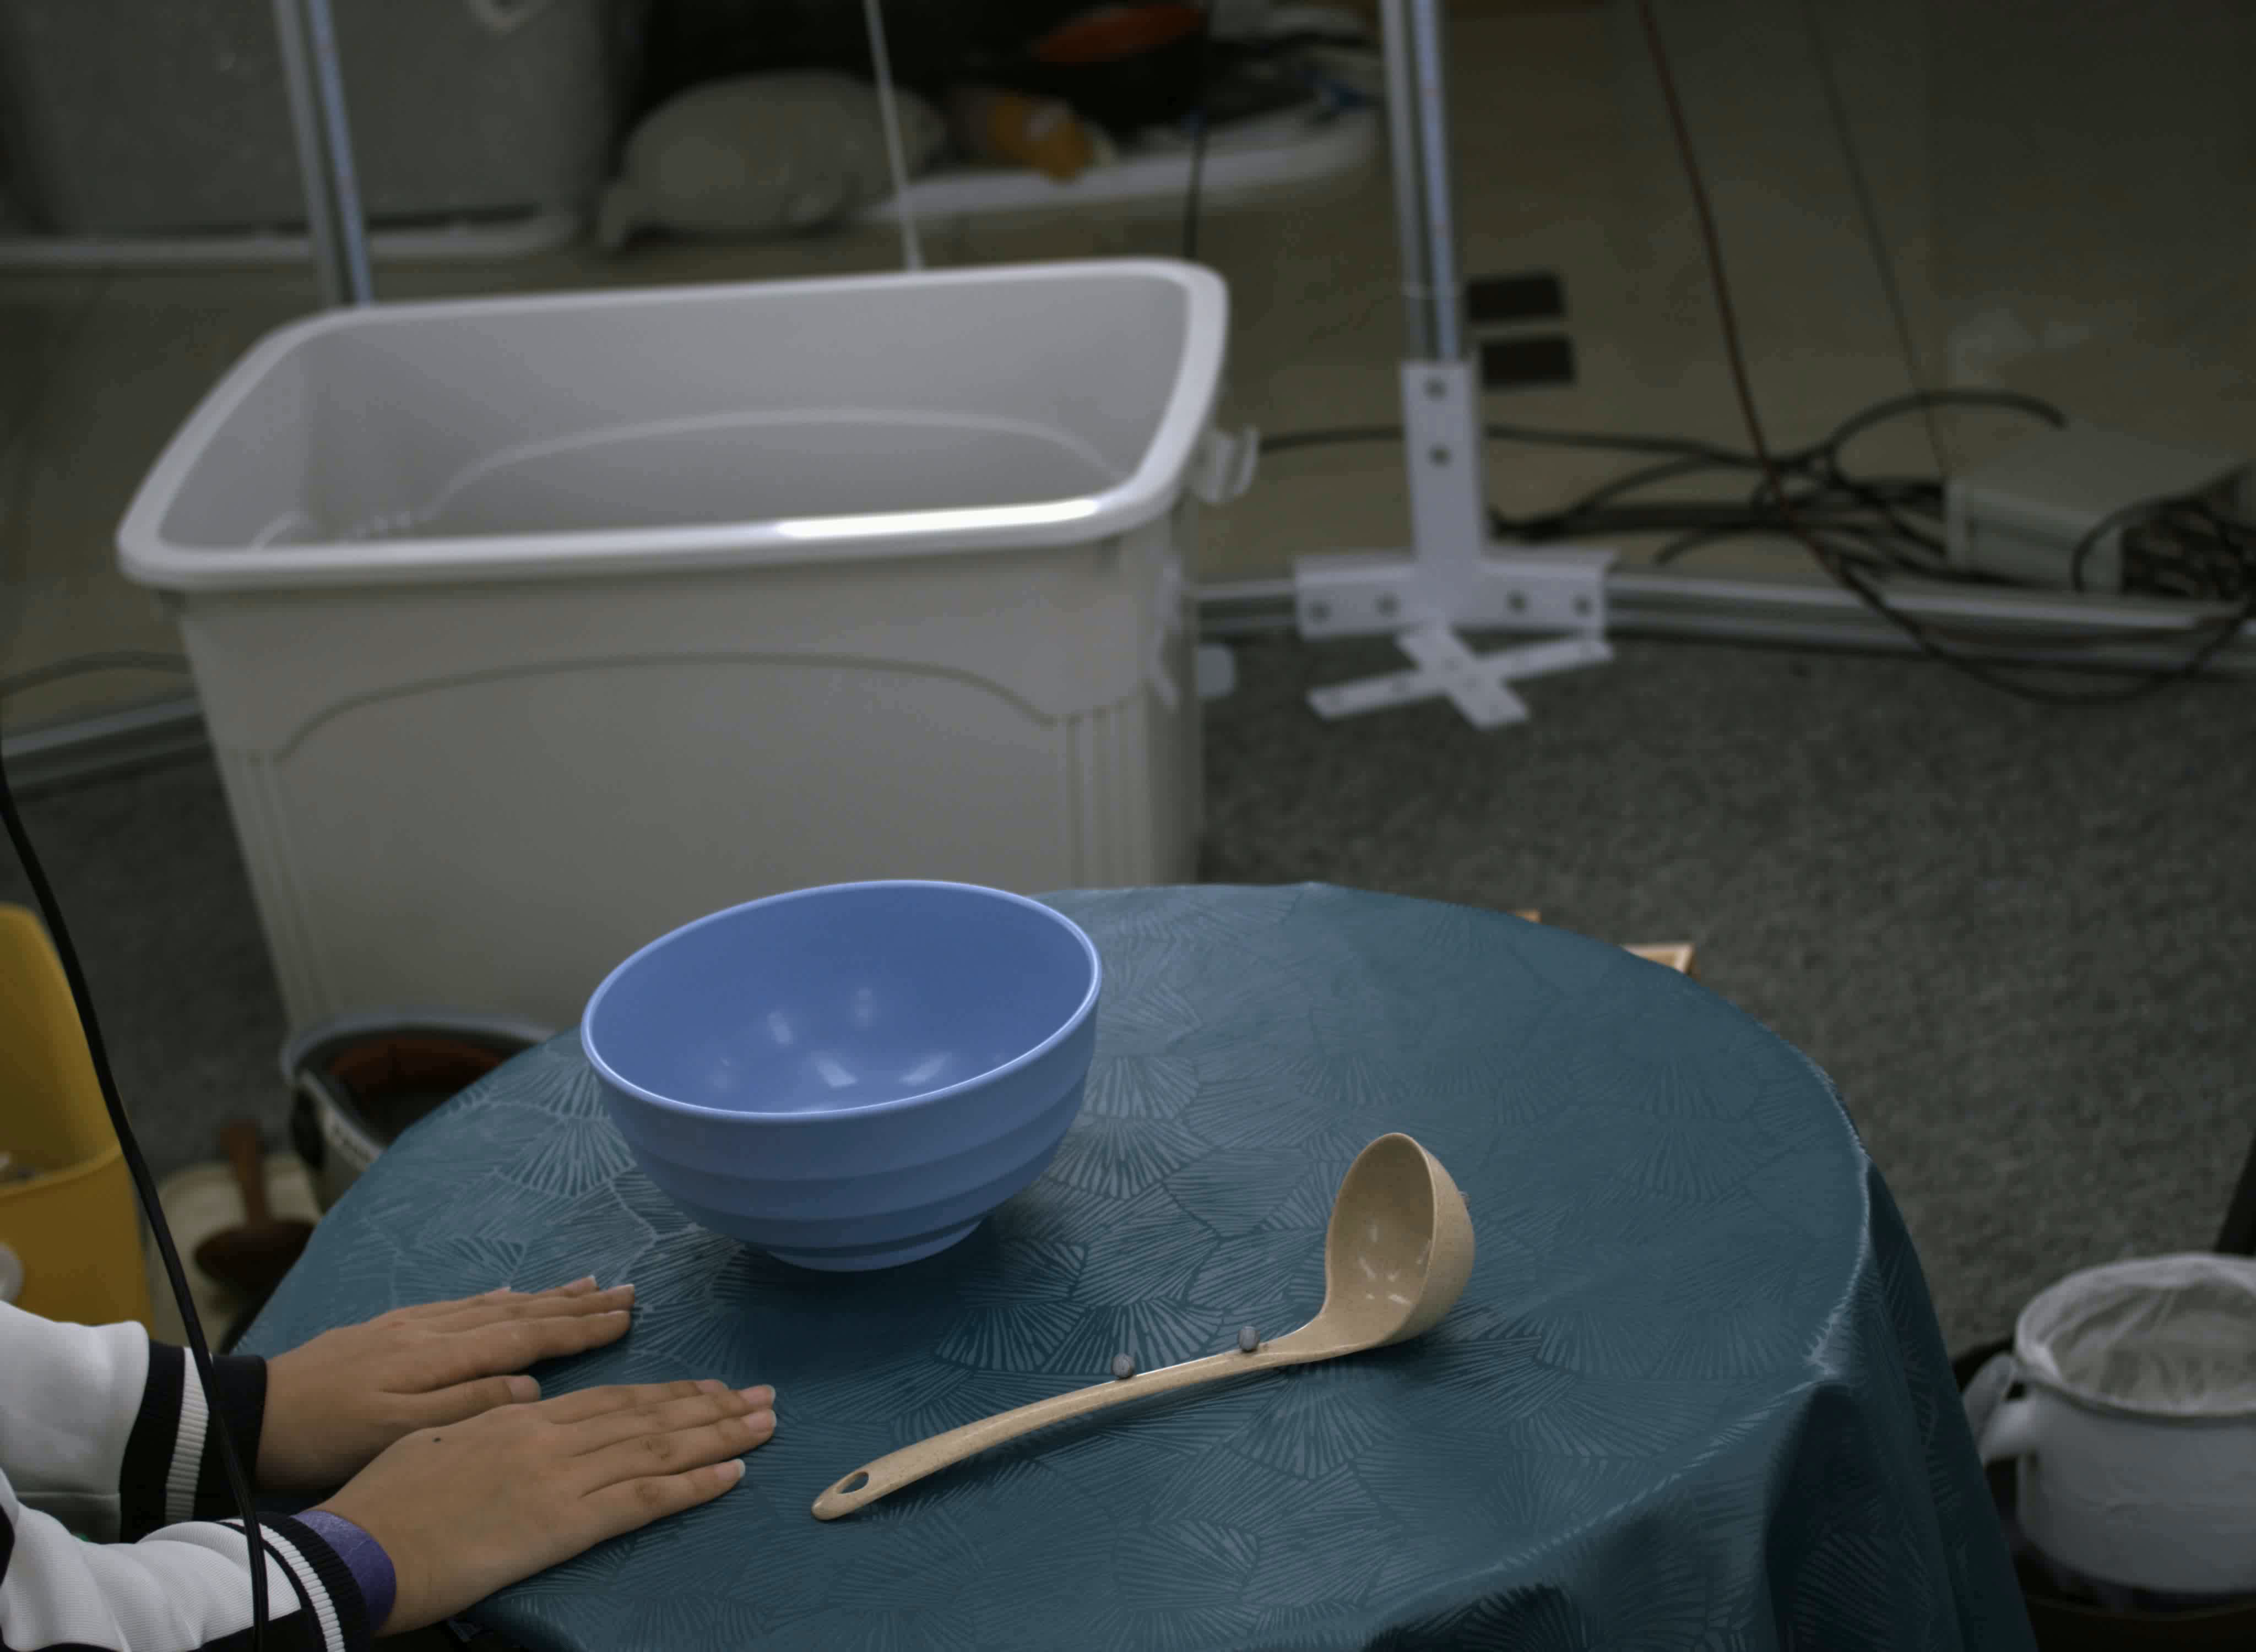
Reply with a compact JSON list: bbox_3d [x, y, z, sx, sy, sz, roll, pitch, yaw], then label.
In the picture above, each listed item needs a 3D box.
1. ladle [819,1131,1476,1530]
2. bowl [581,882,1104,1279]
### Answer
[{"bbox_3d":[0.003,0.174,1.985,0.253,0.074,0.071,-17,27,-21],"label":"ladle"},{"bbox_3d":[-0.103,0.107,2.135,0.196,0.097,0.193,-5,26,2],"label":"bowl"}]
